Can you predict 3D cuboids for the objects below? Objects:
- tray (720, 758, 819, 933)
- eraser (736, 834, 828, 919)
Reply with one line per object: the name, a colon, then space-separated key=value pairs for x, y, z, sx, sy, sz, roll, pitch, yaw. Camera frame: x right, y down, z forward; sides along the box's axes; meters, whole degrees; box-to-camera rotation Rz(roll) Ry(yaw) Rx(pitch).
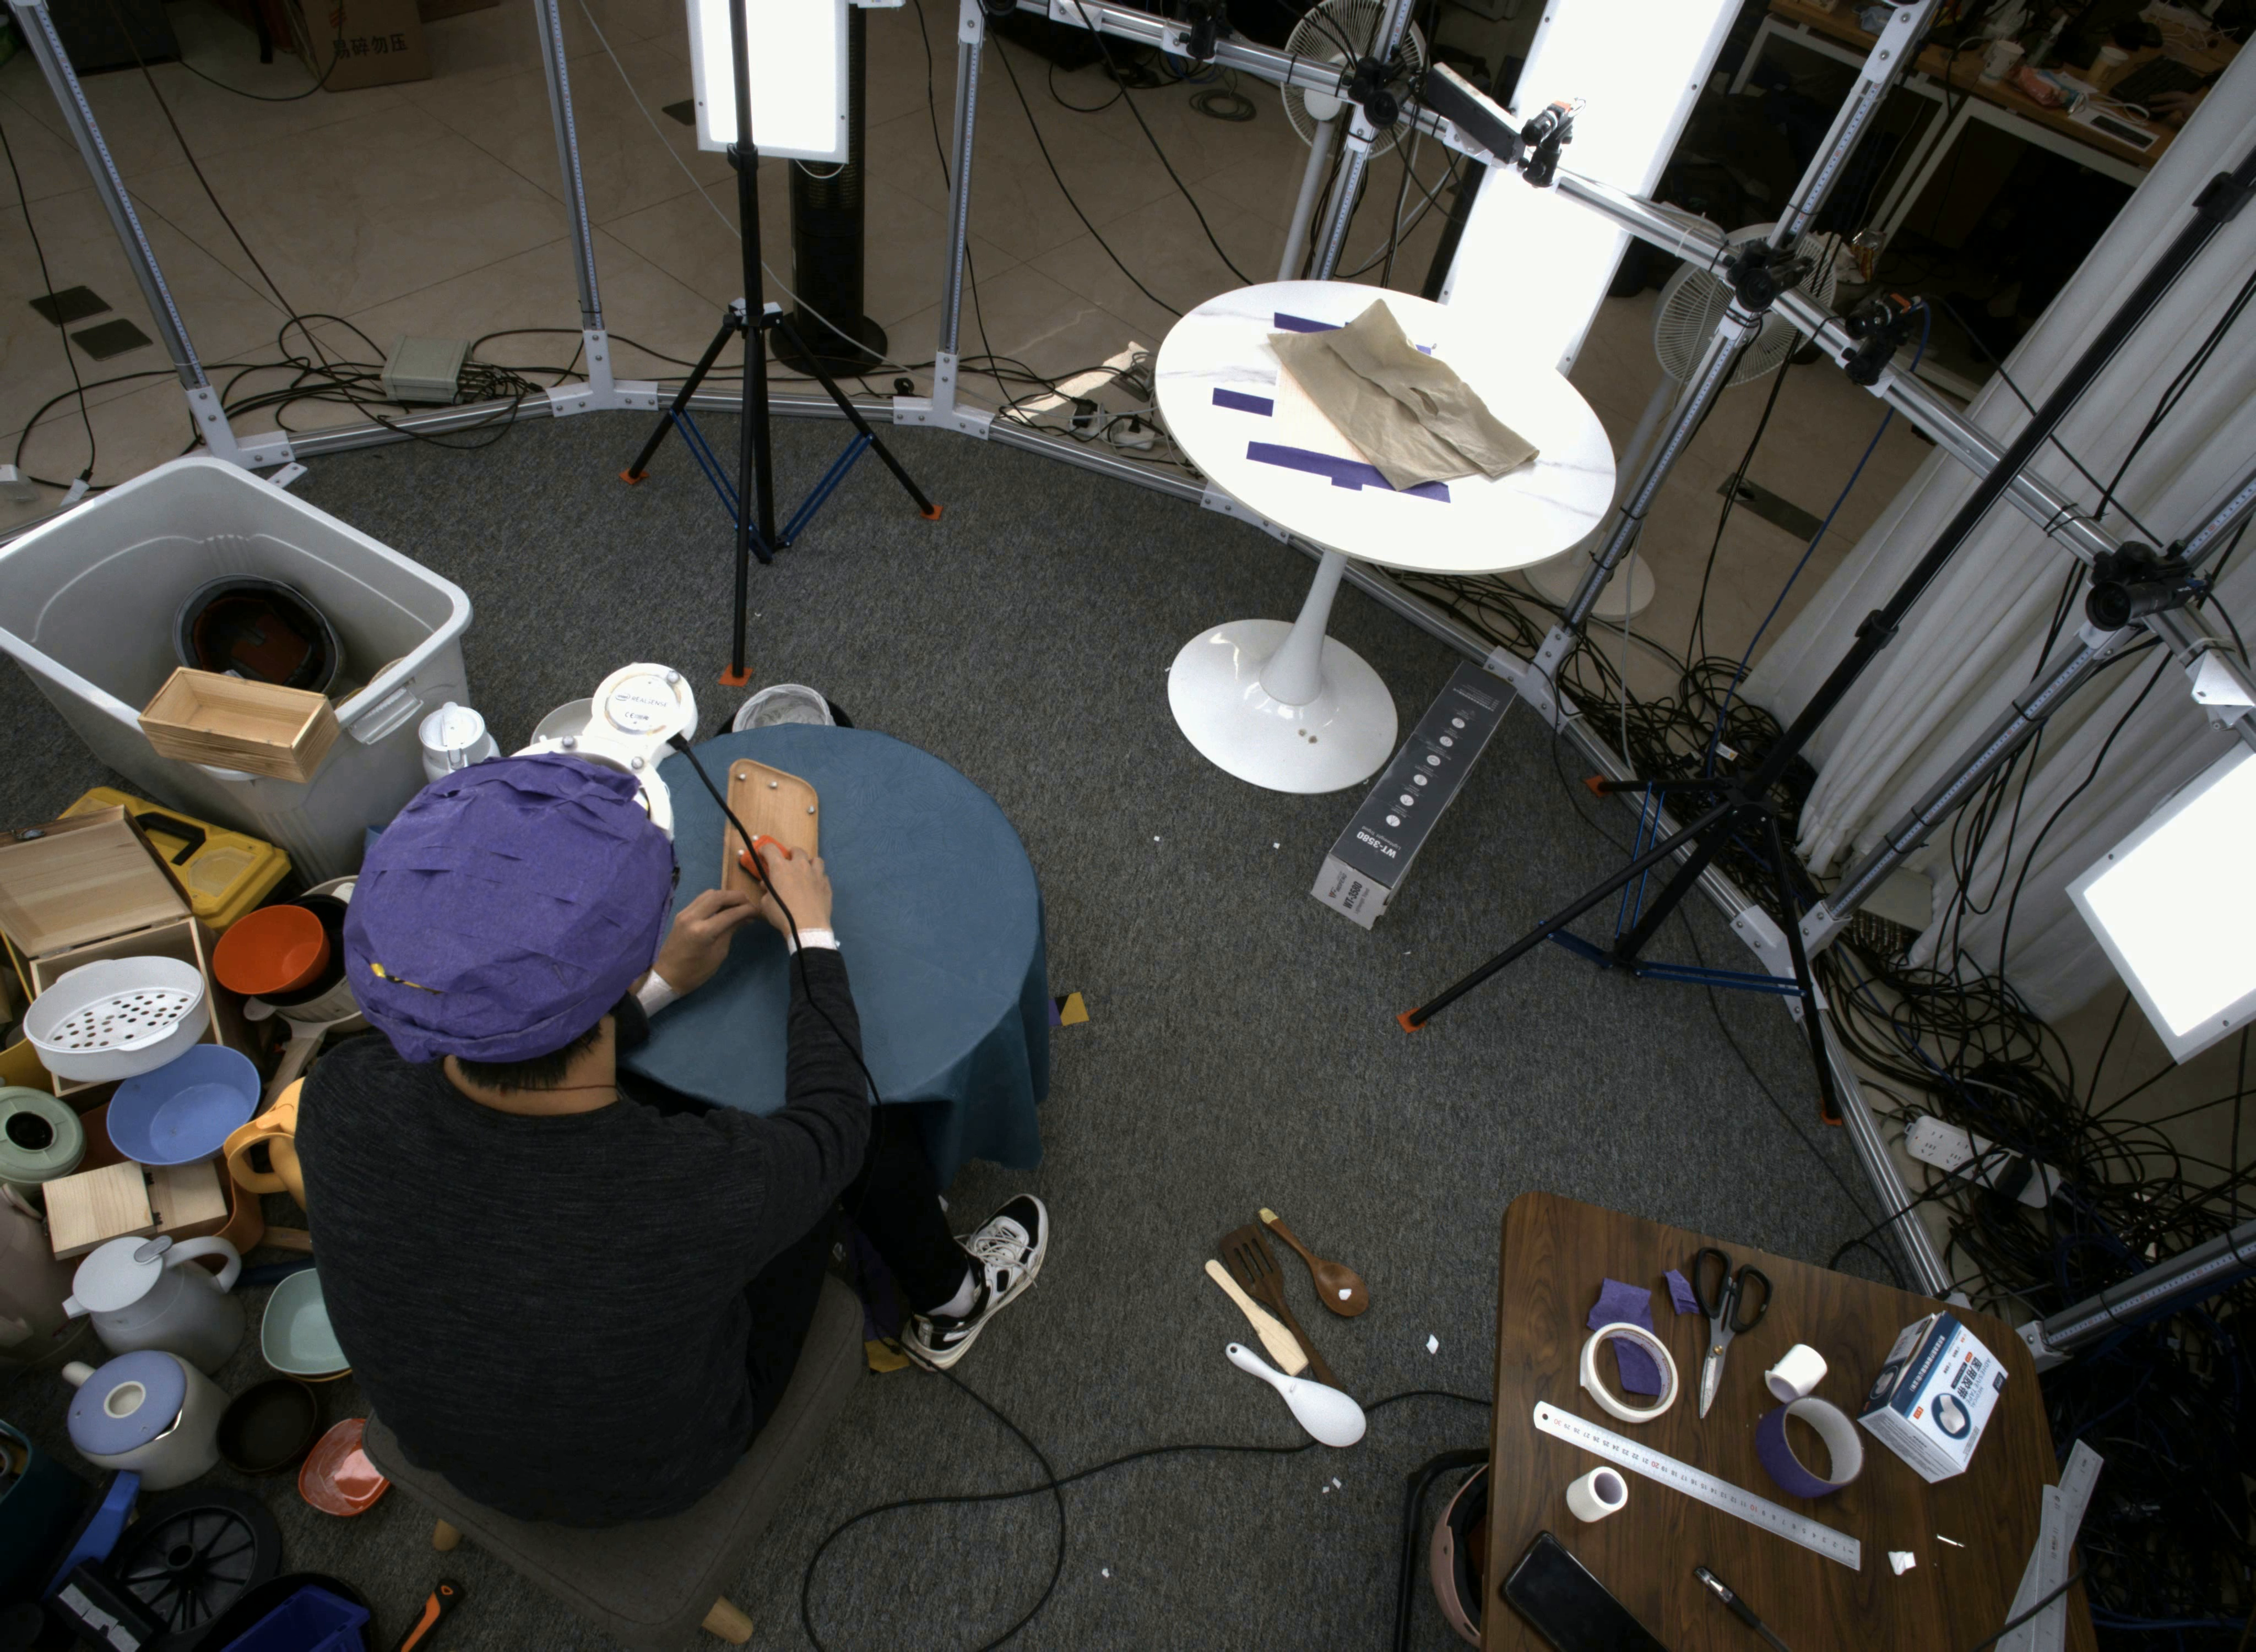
tray: x=-0.453 y=0.021 z=1.642 sx=0.134 sy=0.023 sz=0.245 roll=22 pitch=42 yaw=-33
eraser: x=-0.428 y=0.060 z=1.605 sx=0.109 sy=0.023 sz=0.058 roll=41 pitch=37 yaw=-7
